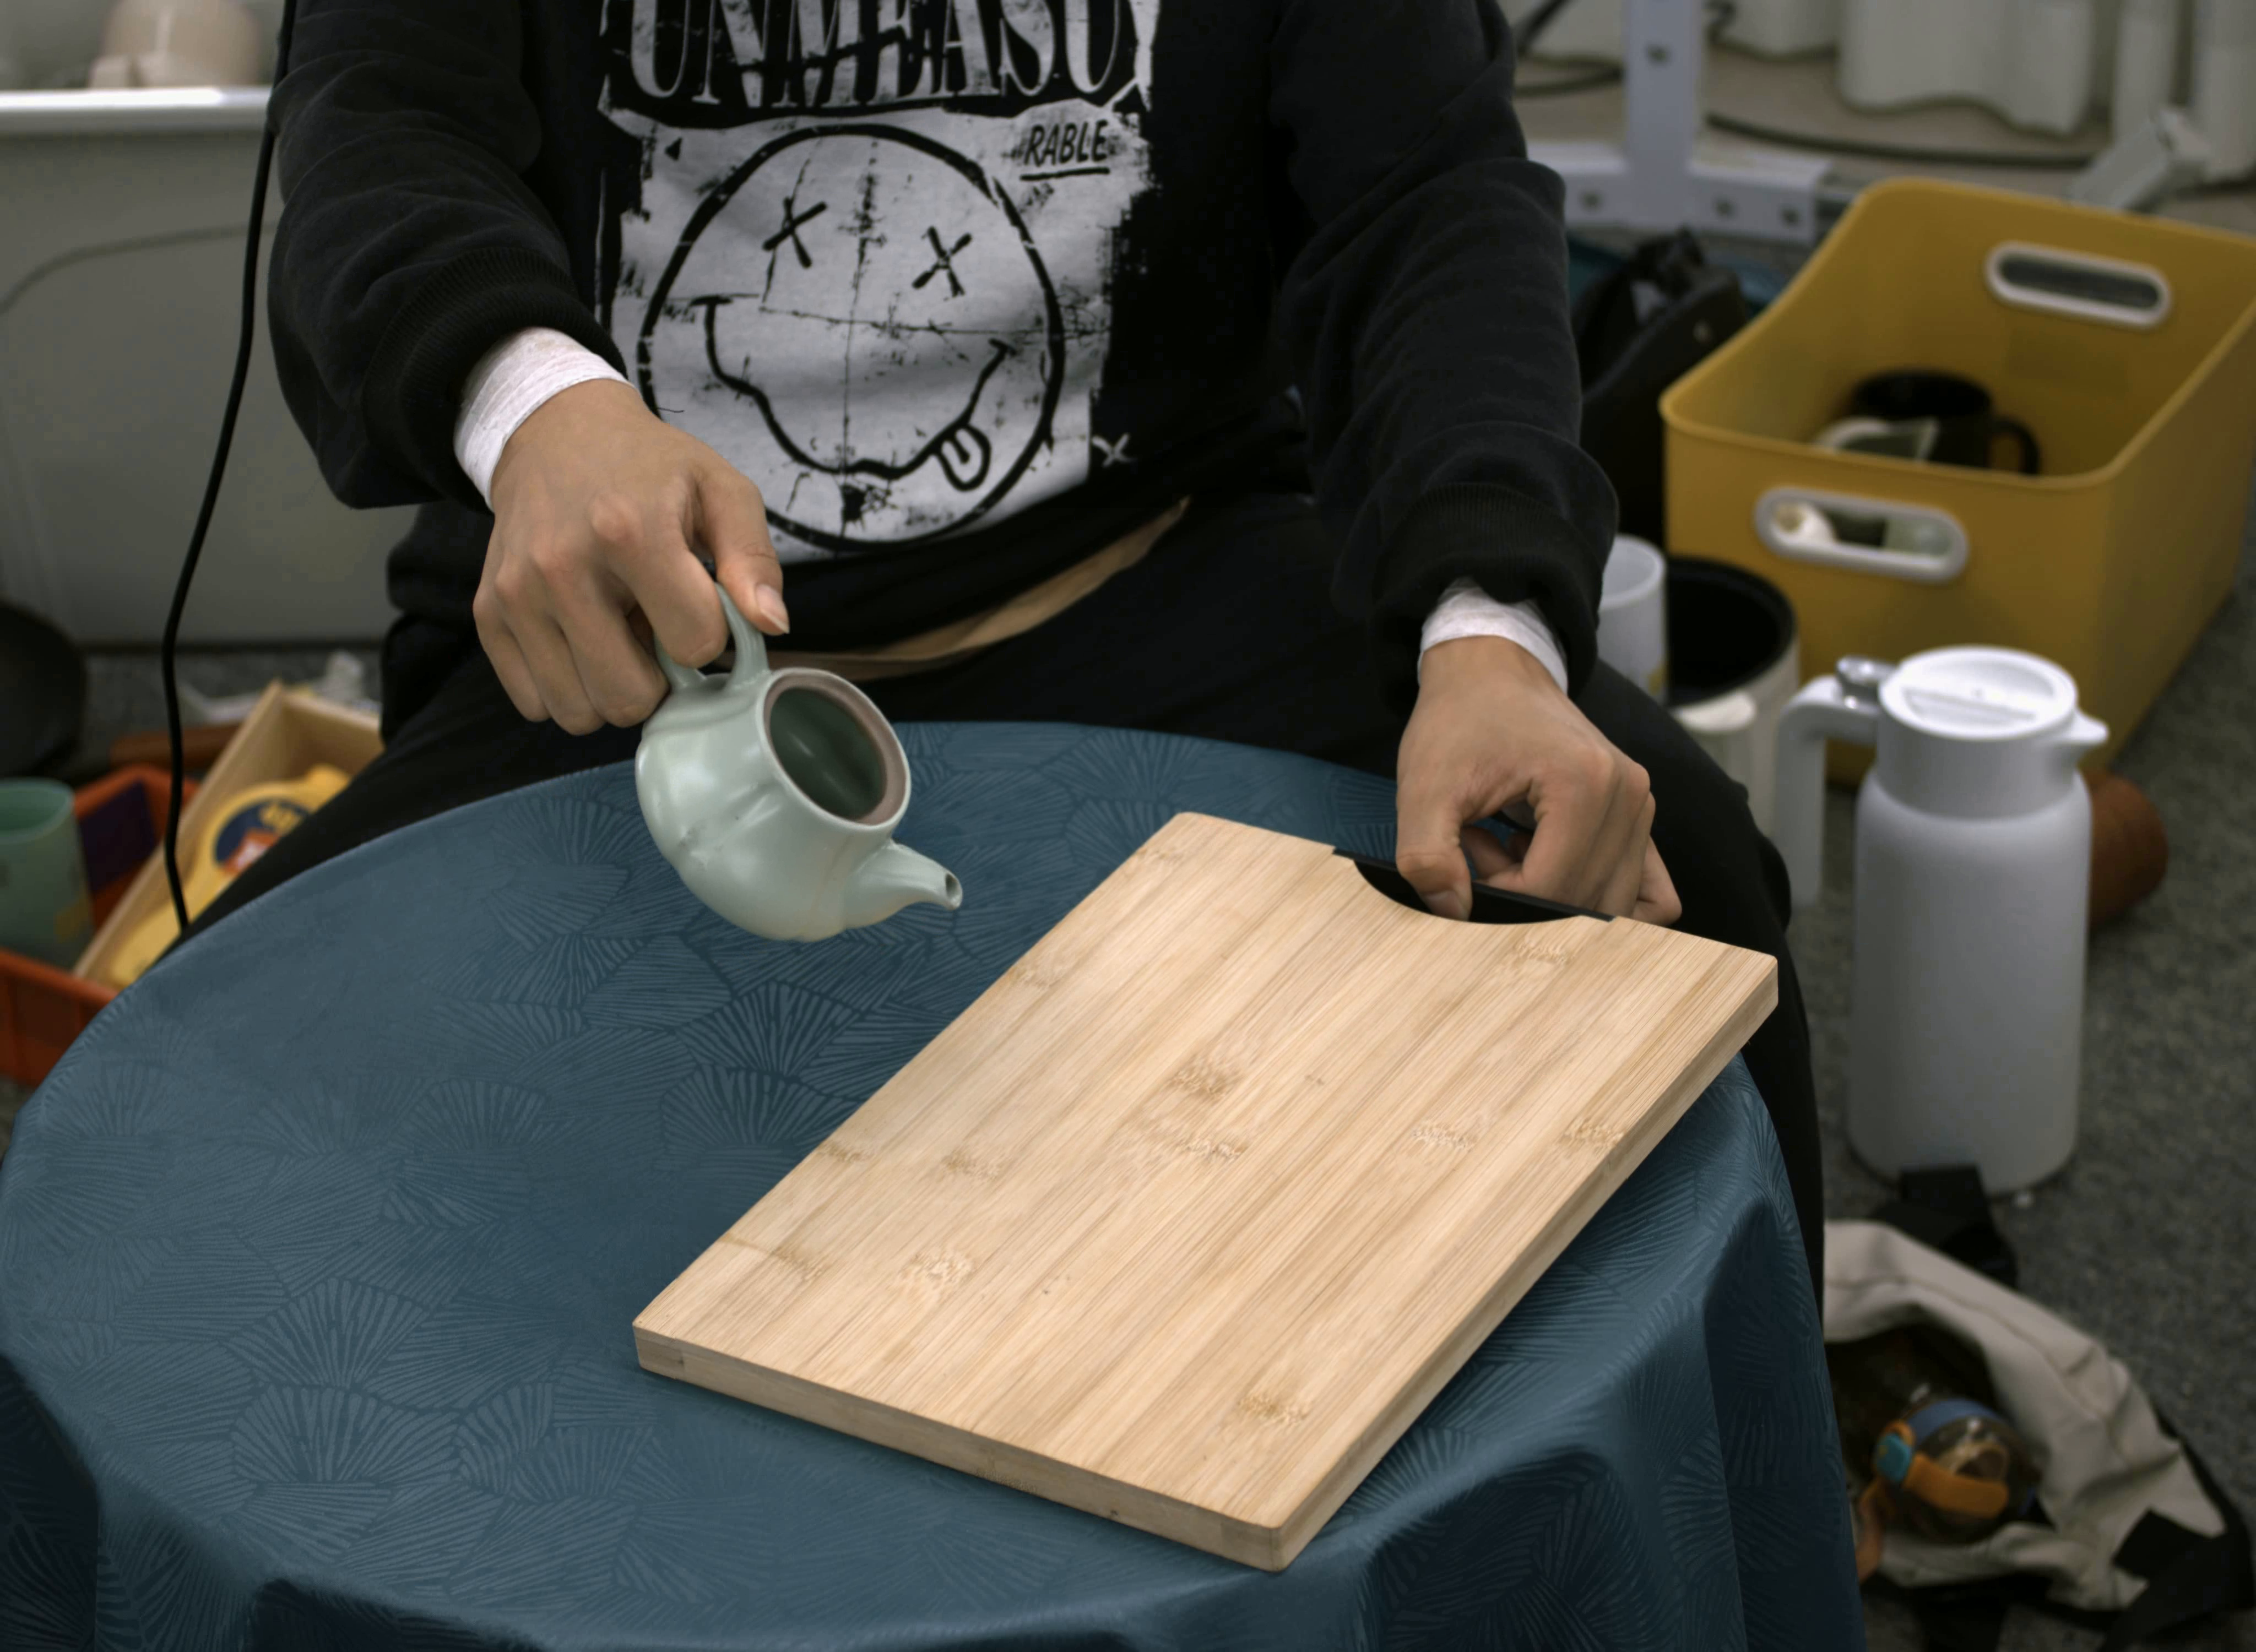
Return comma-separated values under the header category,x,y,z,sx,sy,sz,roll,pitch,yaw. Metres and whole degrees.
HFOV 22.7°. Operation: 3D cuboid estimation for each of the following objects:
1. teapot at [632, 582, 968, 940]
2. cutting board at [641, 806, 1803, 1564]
category,x,y,z,sx,sy,sz,roll,pitch,yaw
teapot,-0.114,-0.016,1.812,0.060,0.137,0.098,-37,2,36
cutting board,0.035,0.106,1.842,0.249,0.023,0.354,13,35,28
